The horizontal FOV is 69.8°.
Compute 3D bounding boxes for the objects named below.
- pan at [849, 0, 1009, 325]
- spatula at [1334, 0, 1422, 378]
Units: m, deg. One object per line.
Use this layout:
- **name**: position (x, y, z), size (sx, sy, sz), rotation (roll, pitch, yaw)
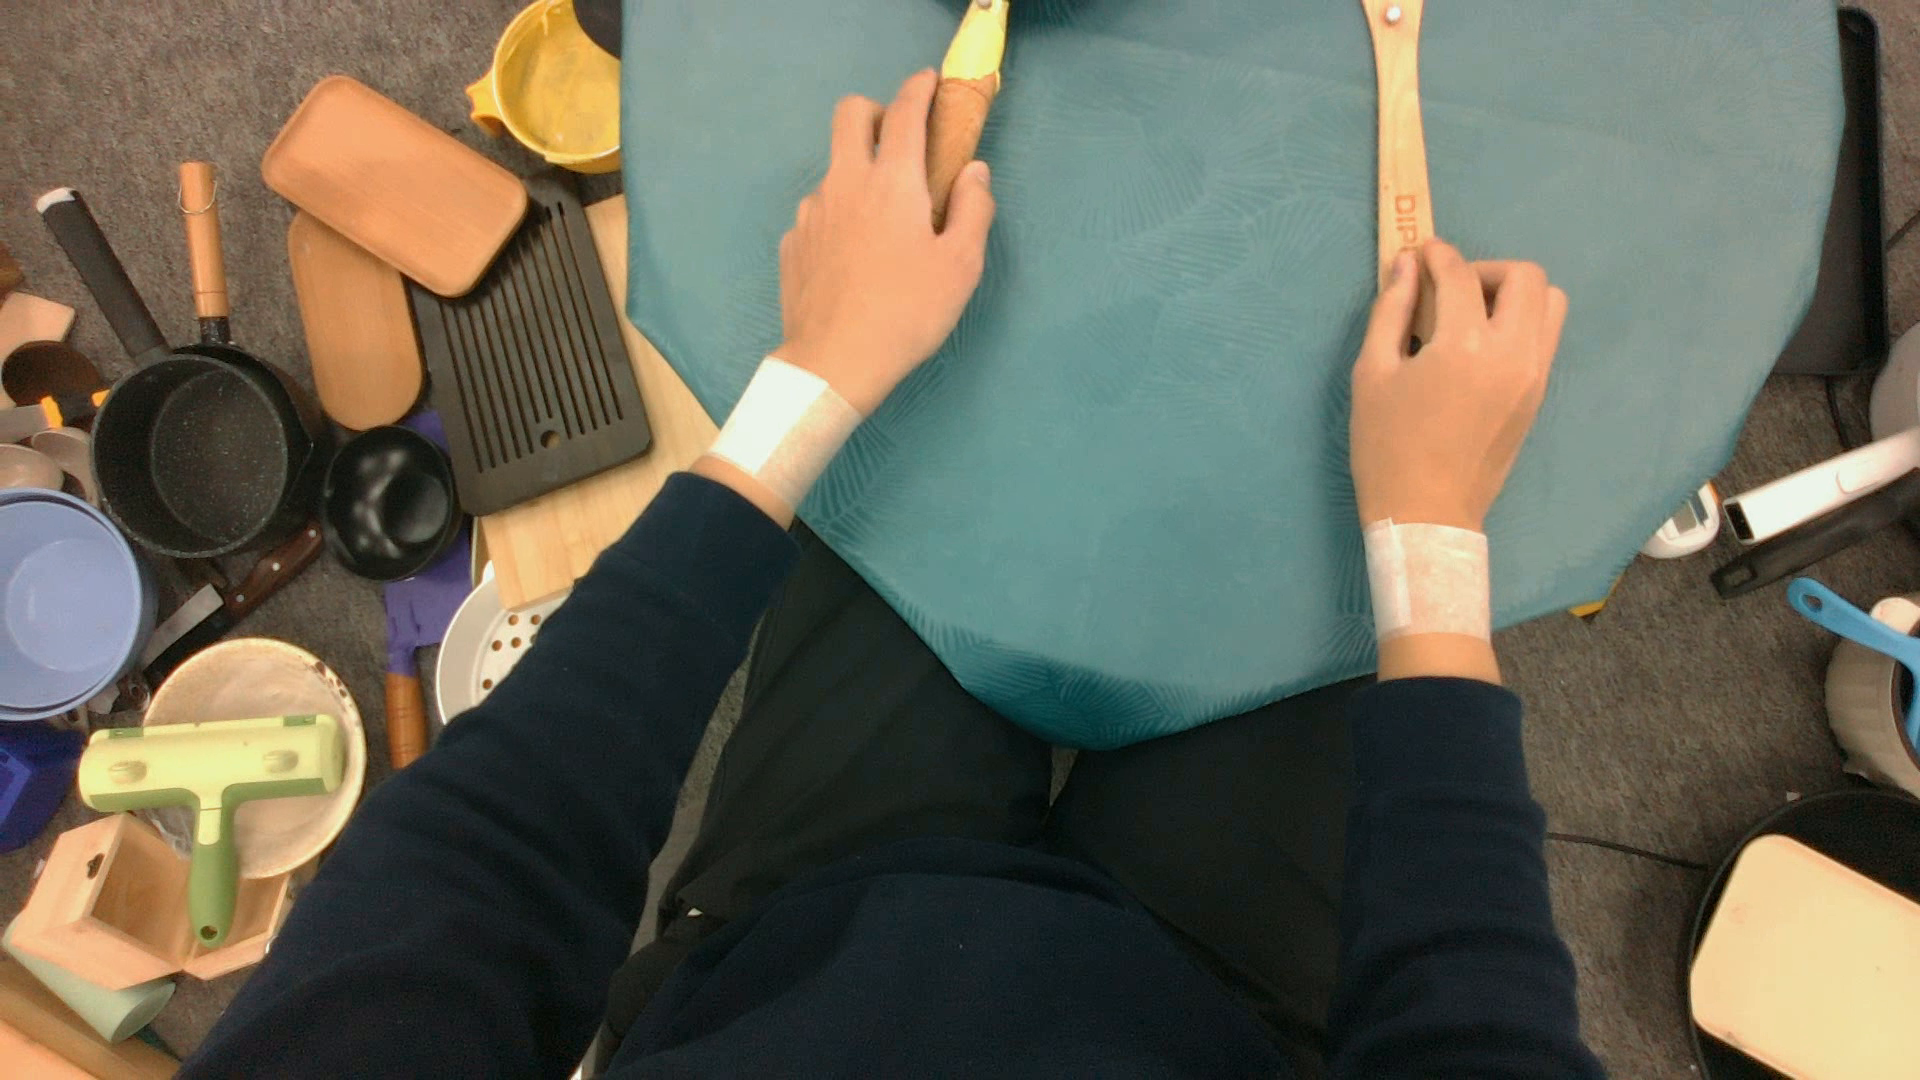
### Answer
- **pan**: position (0.000, -0.256, 0.667), size (0.169, 0.049, 0.324), rotation (16, 85, 4)
- **spatula**: position (0.200, -0.241, 0.674), size (0.080, 0.016, 0.328), rotation (-4, 85, 3)
